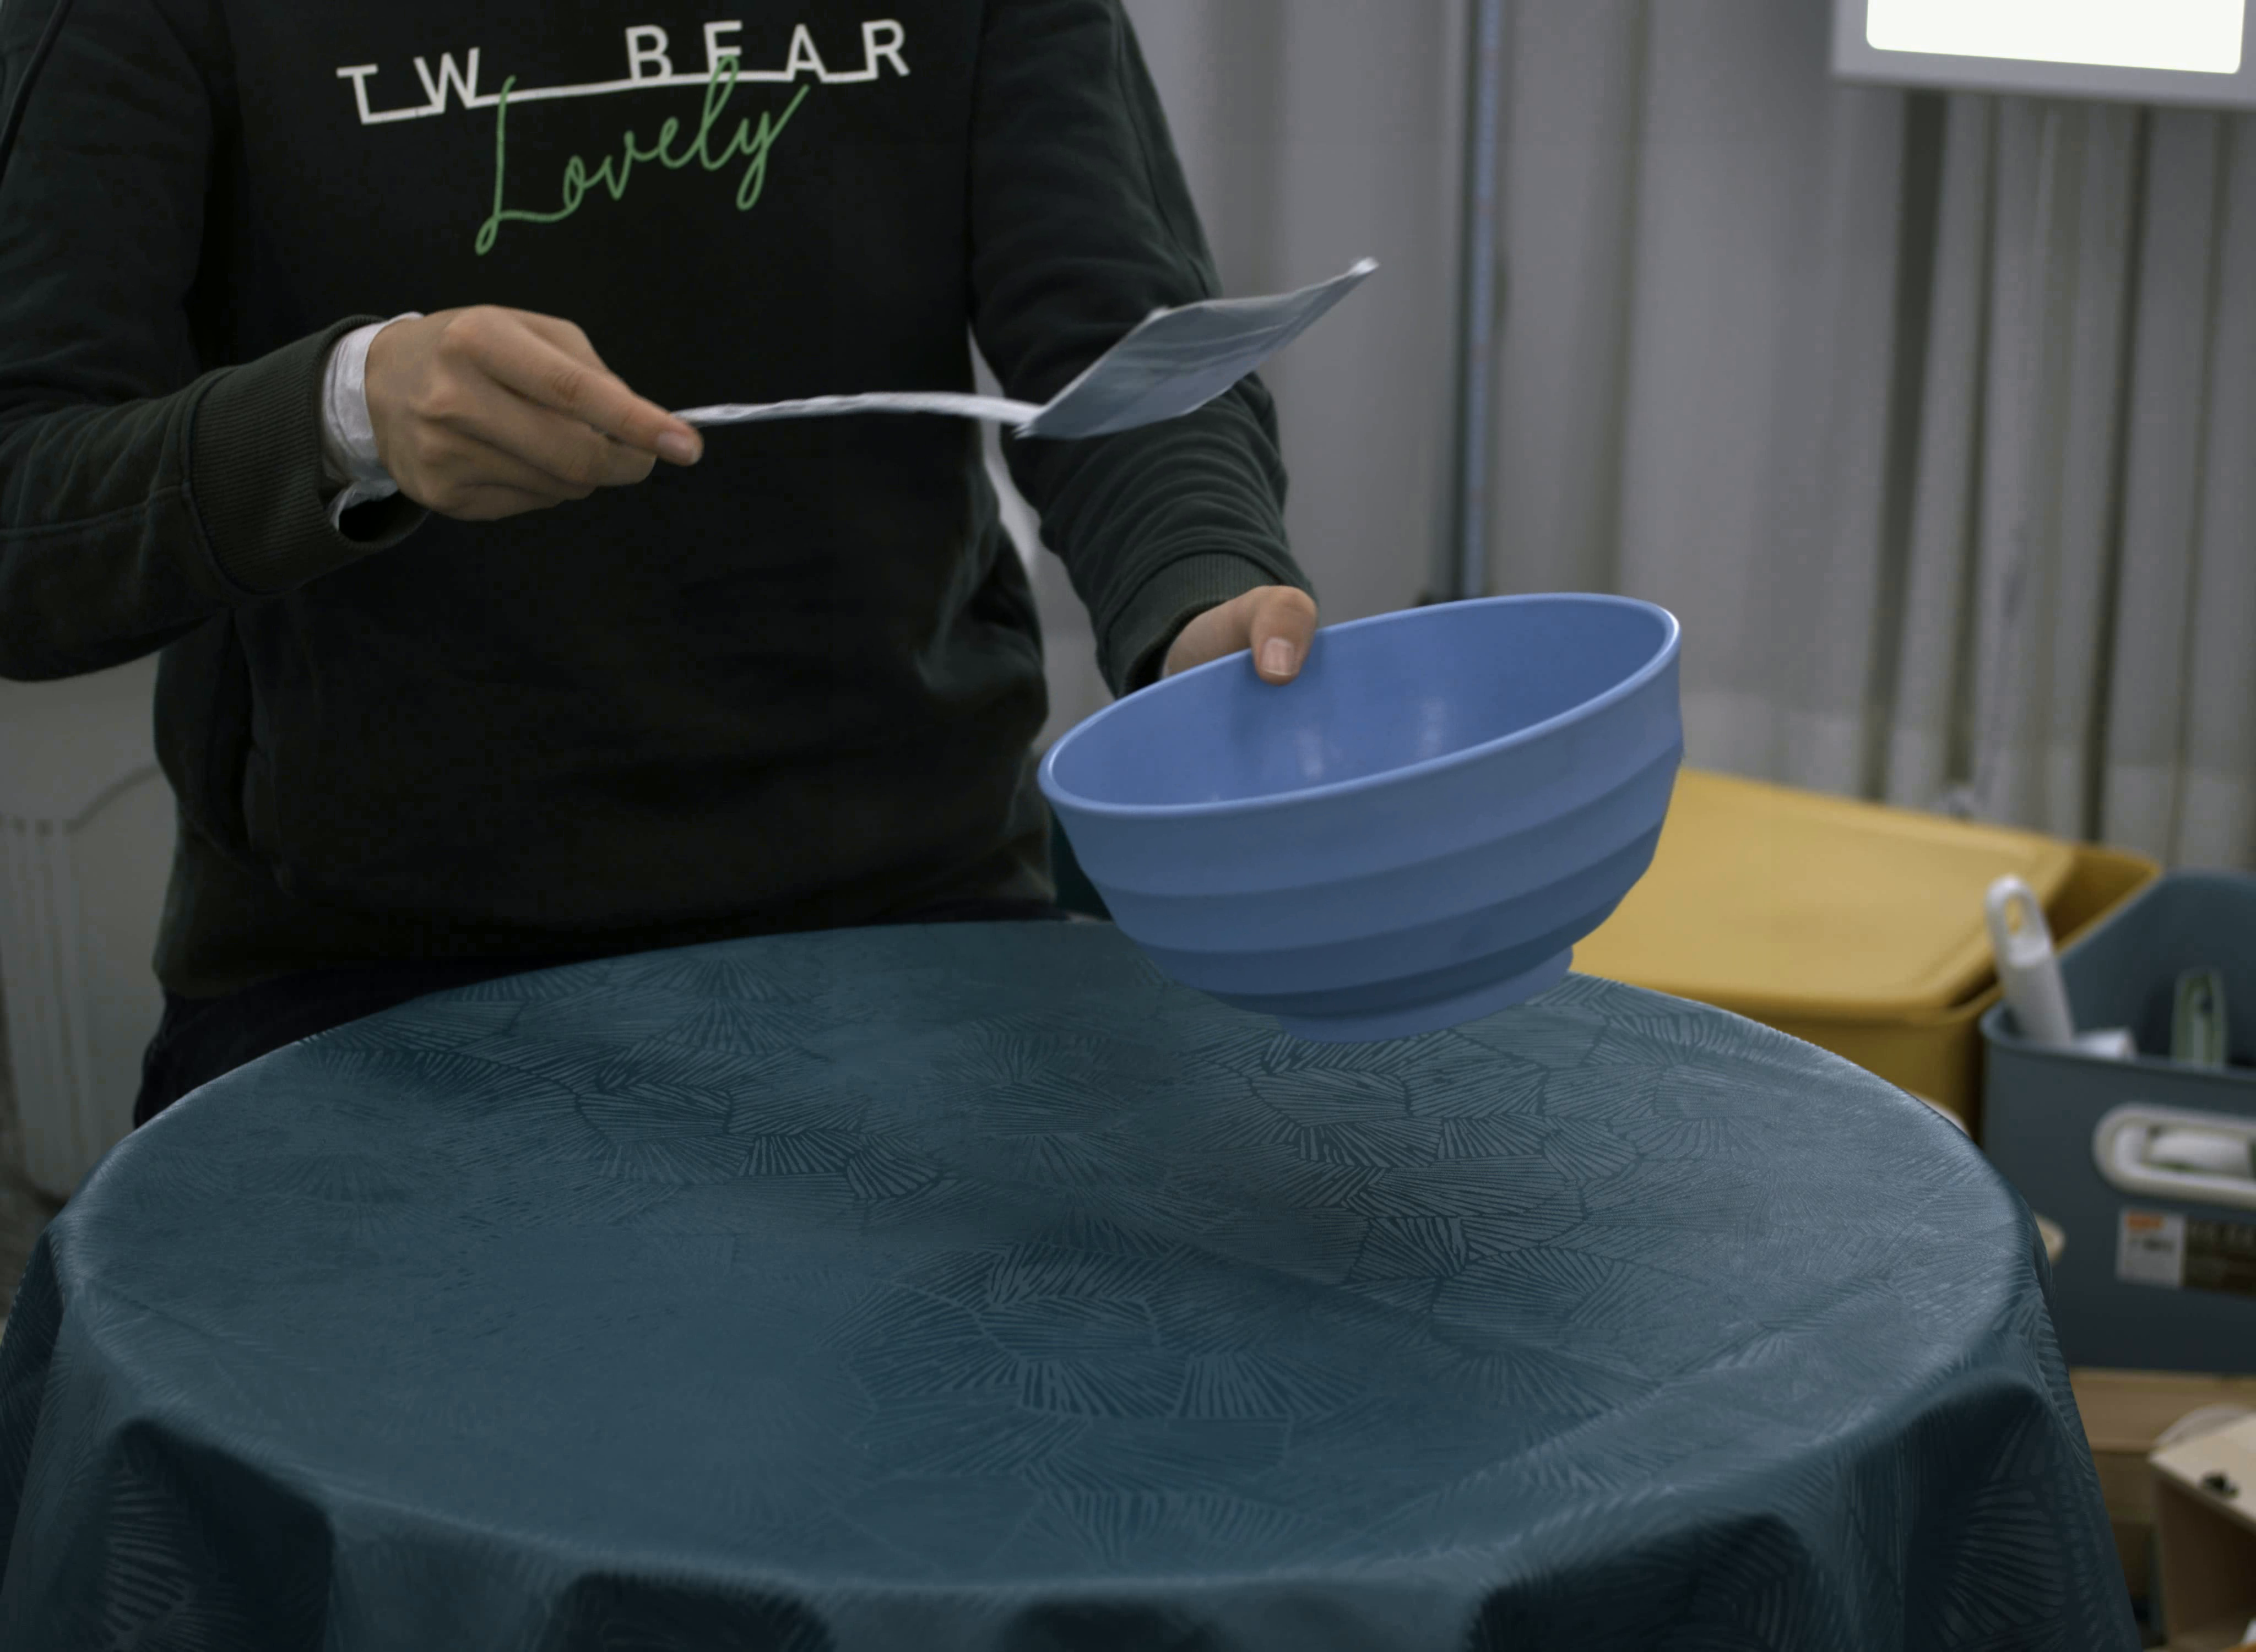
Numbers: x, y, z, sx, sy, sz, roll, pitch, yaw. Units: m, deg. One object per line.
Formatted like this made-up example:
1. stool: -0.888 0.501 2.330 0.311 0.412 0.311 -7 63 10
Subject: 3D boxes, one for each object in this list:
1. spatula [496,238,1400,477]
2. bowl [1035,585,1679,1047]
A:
1. spatula: -0.076 -0.135 1.582 0.361 0.045 0.099 -1 14 41
2. bowl: 0.078 0.005 1.574 0.196 0.096 0.195 -12 17 4
